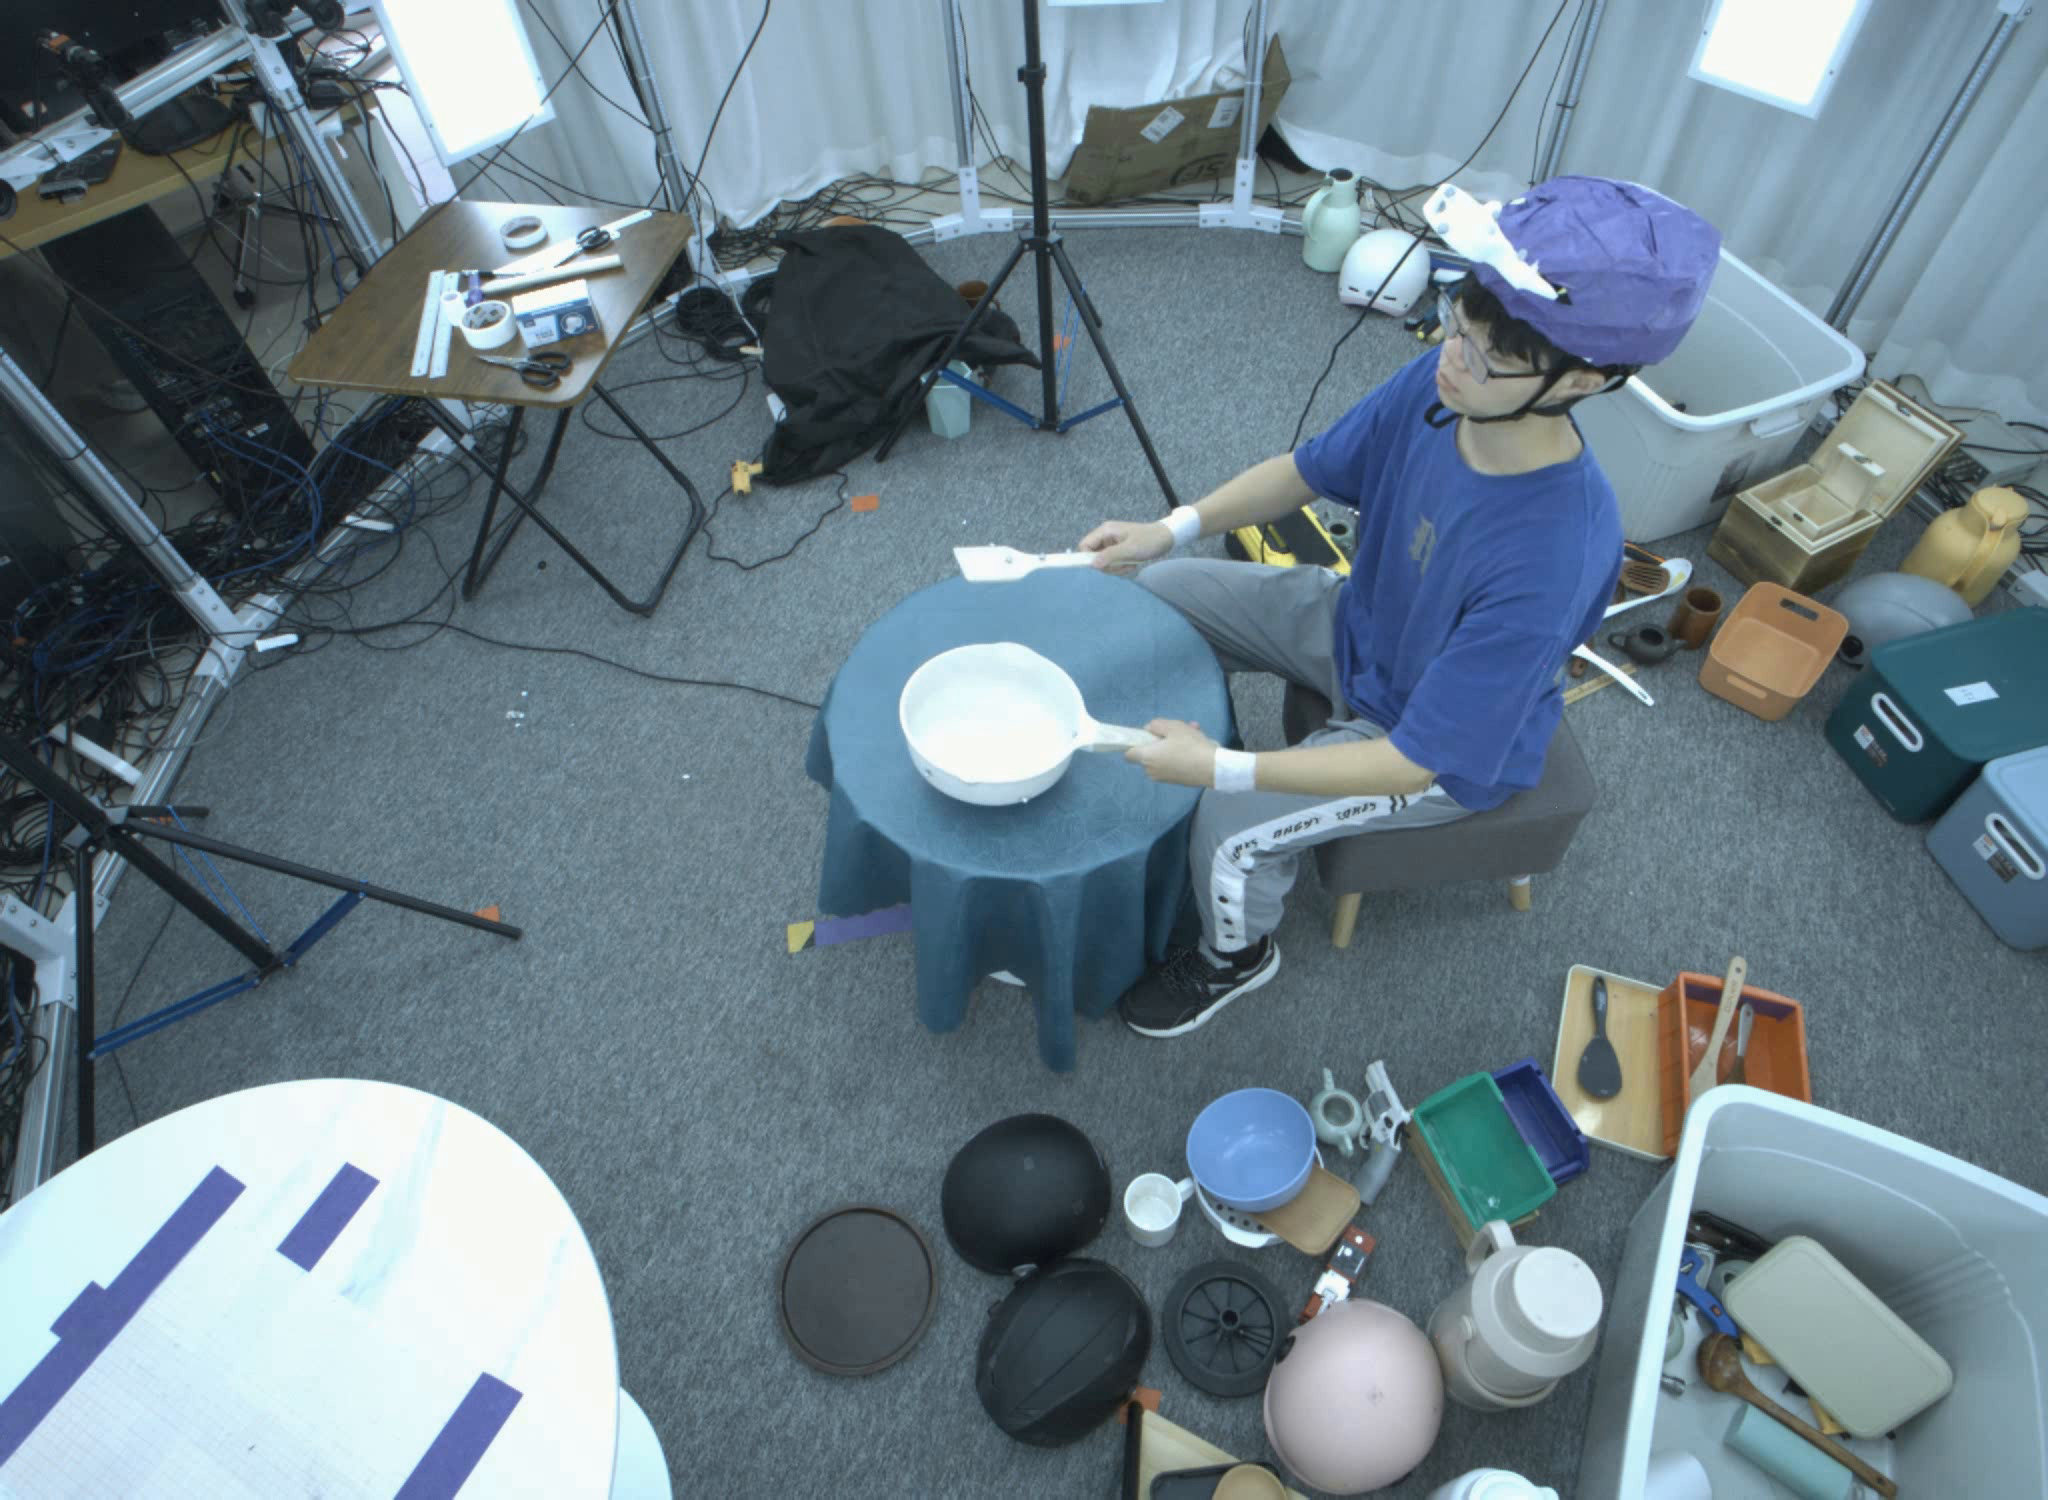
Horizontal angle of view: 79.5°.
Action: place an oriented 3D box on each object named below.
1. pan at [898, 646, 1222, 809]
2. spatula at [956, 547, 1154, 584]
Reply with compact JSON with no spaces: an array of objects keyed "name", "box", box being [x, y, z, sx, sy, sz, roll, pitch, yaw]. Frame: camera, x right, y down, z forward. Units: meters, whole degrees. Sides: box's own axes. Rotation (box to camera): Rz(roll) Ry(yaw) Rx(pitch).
[{"name":"pan","box":[0.045,-0.011,1.668,0.434,0.102,0.262,12,49,2]},{"name":"spatula","box":[0.049,-0.265,1.711,0.297,0.011,0.071,-7,51,-24]}]
